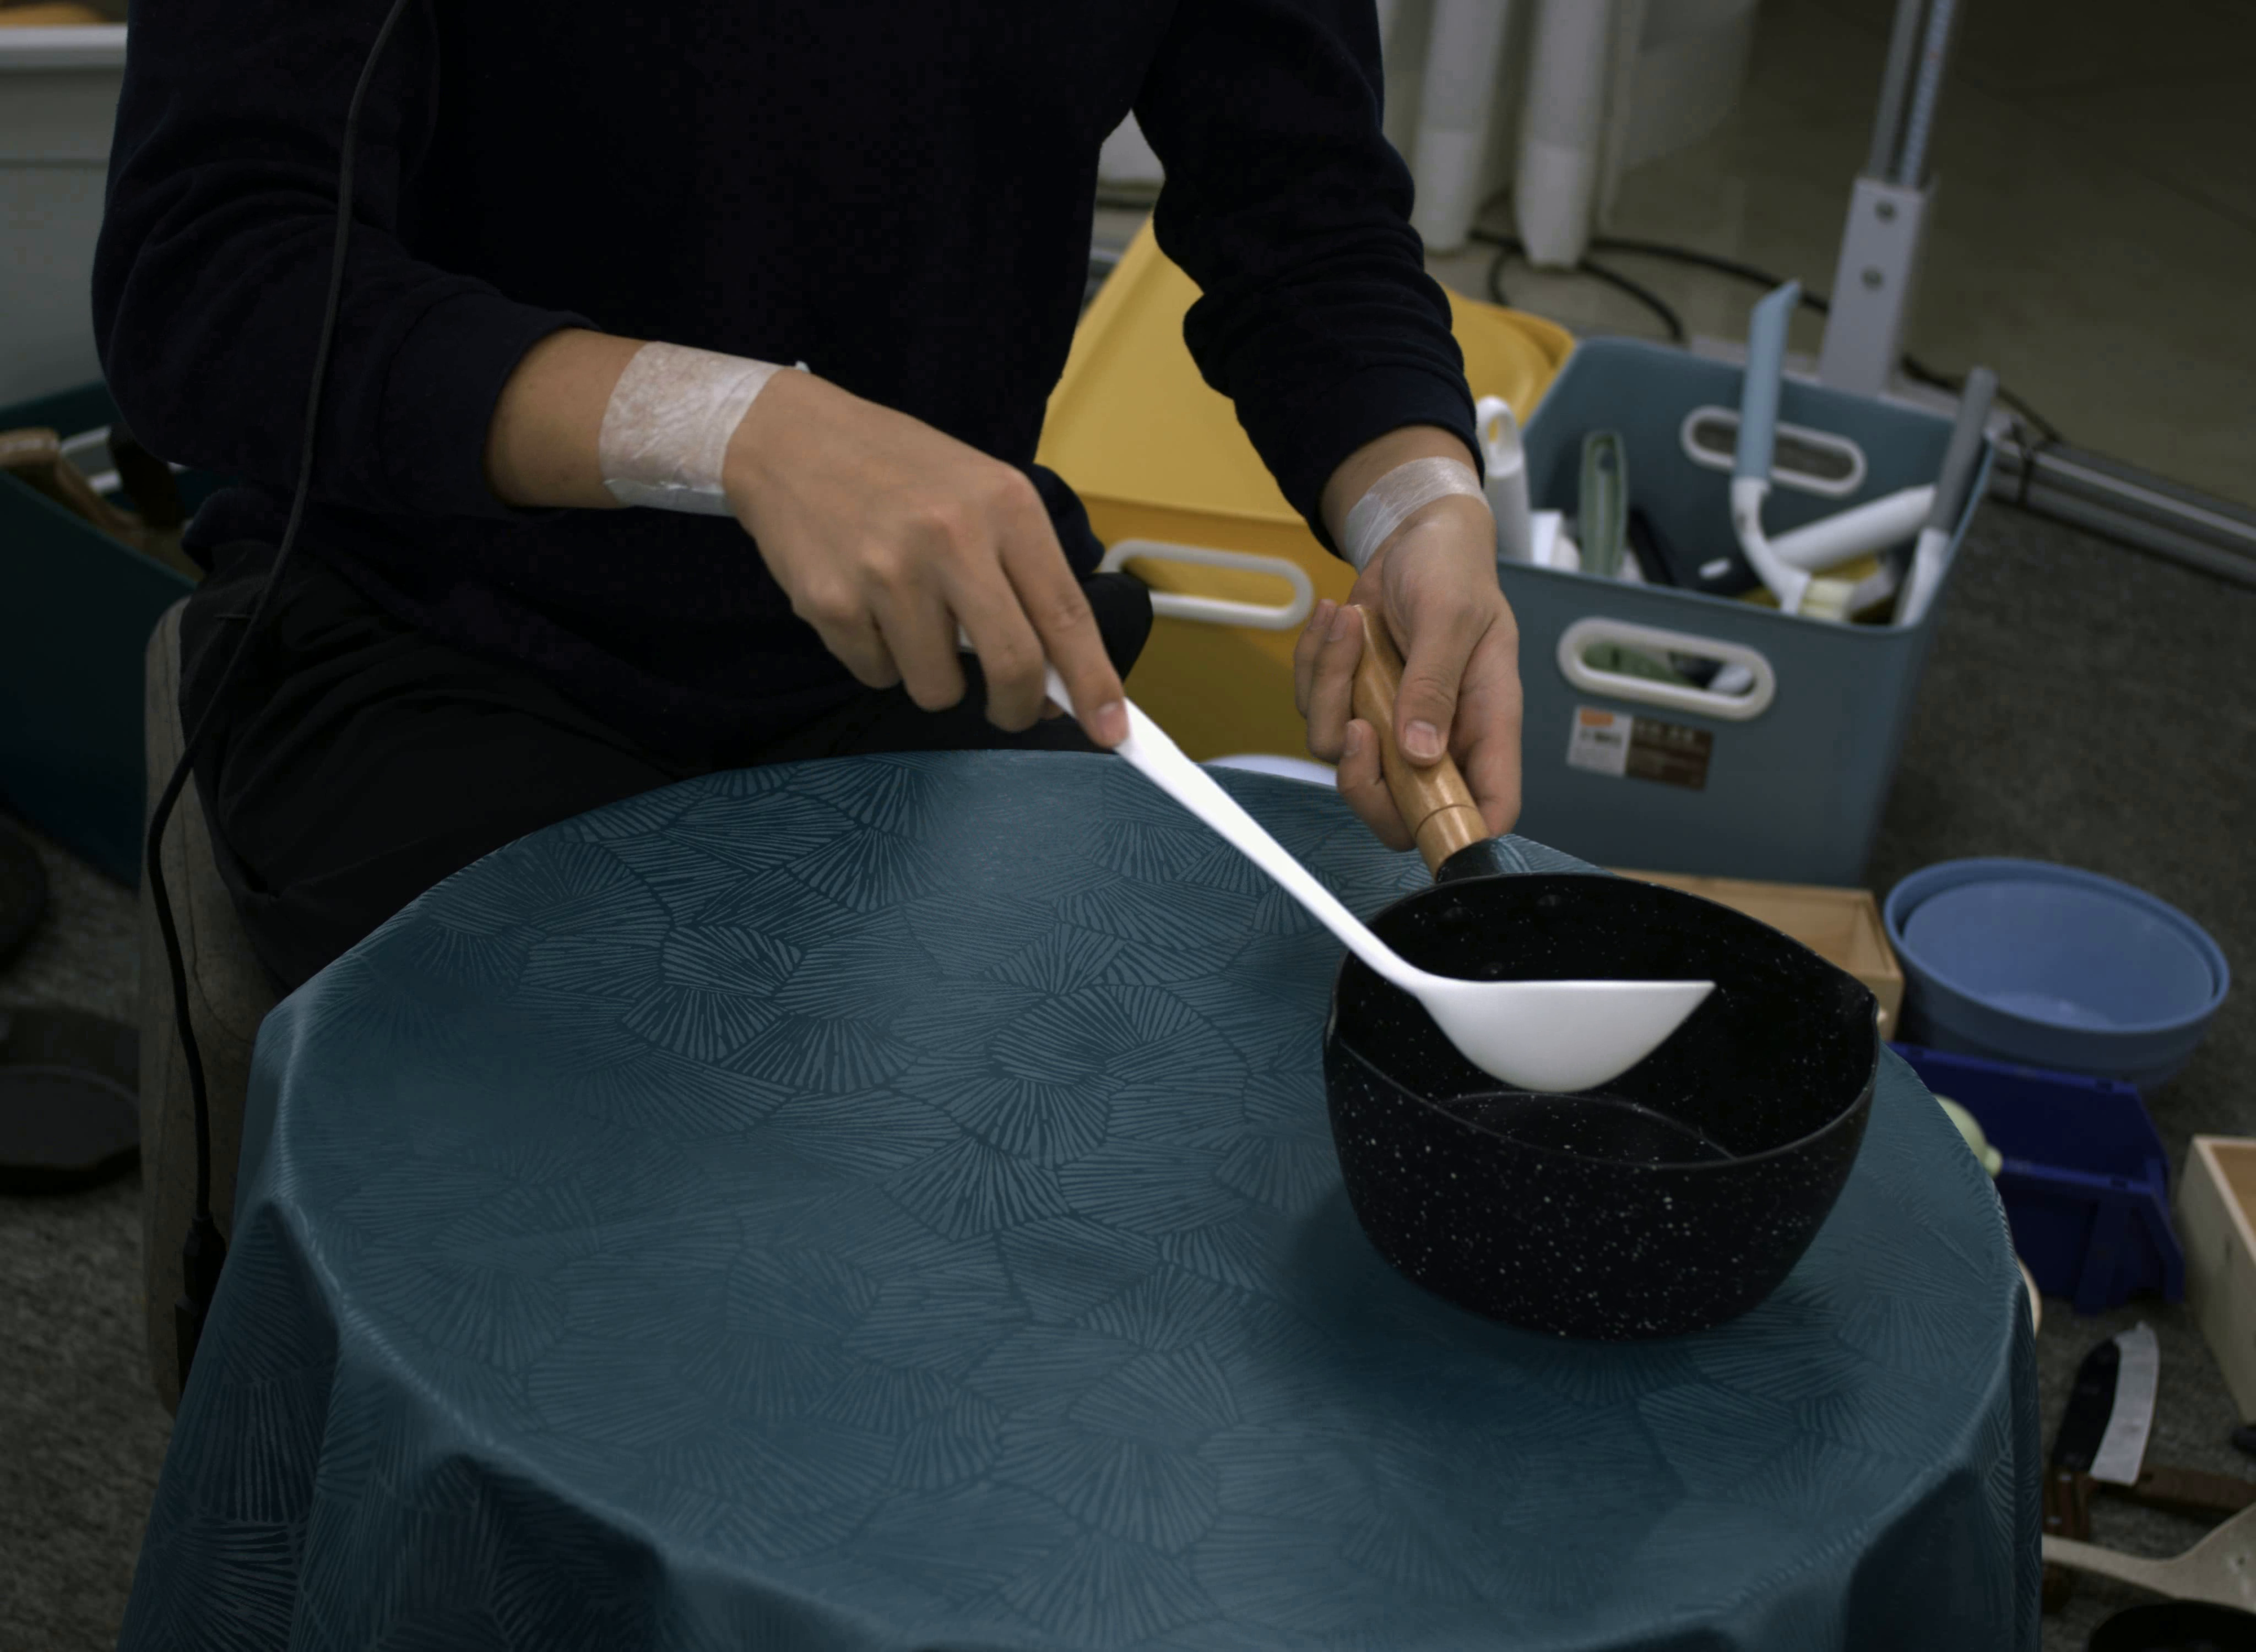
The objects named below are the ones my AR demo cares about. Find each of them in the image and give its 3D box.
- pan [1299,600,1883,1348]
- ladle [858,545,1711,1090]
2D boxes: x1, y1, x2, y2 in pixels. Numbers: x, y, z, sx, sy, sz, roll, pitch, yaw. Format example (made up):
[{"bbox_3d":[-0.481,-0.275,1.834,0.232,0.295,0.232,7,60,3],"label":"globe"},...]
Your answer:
[{"bbox_3d":[0.128,0.048,1.848,0.206,0.108,0.346,-6,33,-20],"label":"pan"},{"bbox_3d":[0.047,-0.011,1.687,0.294,0.070,0.090,36,14,13],"label":"ladle"}]
